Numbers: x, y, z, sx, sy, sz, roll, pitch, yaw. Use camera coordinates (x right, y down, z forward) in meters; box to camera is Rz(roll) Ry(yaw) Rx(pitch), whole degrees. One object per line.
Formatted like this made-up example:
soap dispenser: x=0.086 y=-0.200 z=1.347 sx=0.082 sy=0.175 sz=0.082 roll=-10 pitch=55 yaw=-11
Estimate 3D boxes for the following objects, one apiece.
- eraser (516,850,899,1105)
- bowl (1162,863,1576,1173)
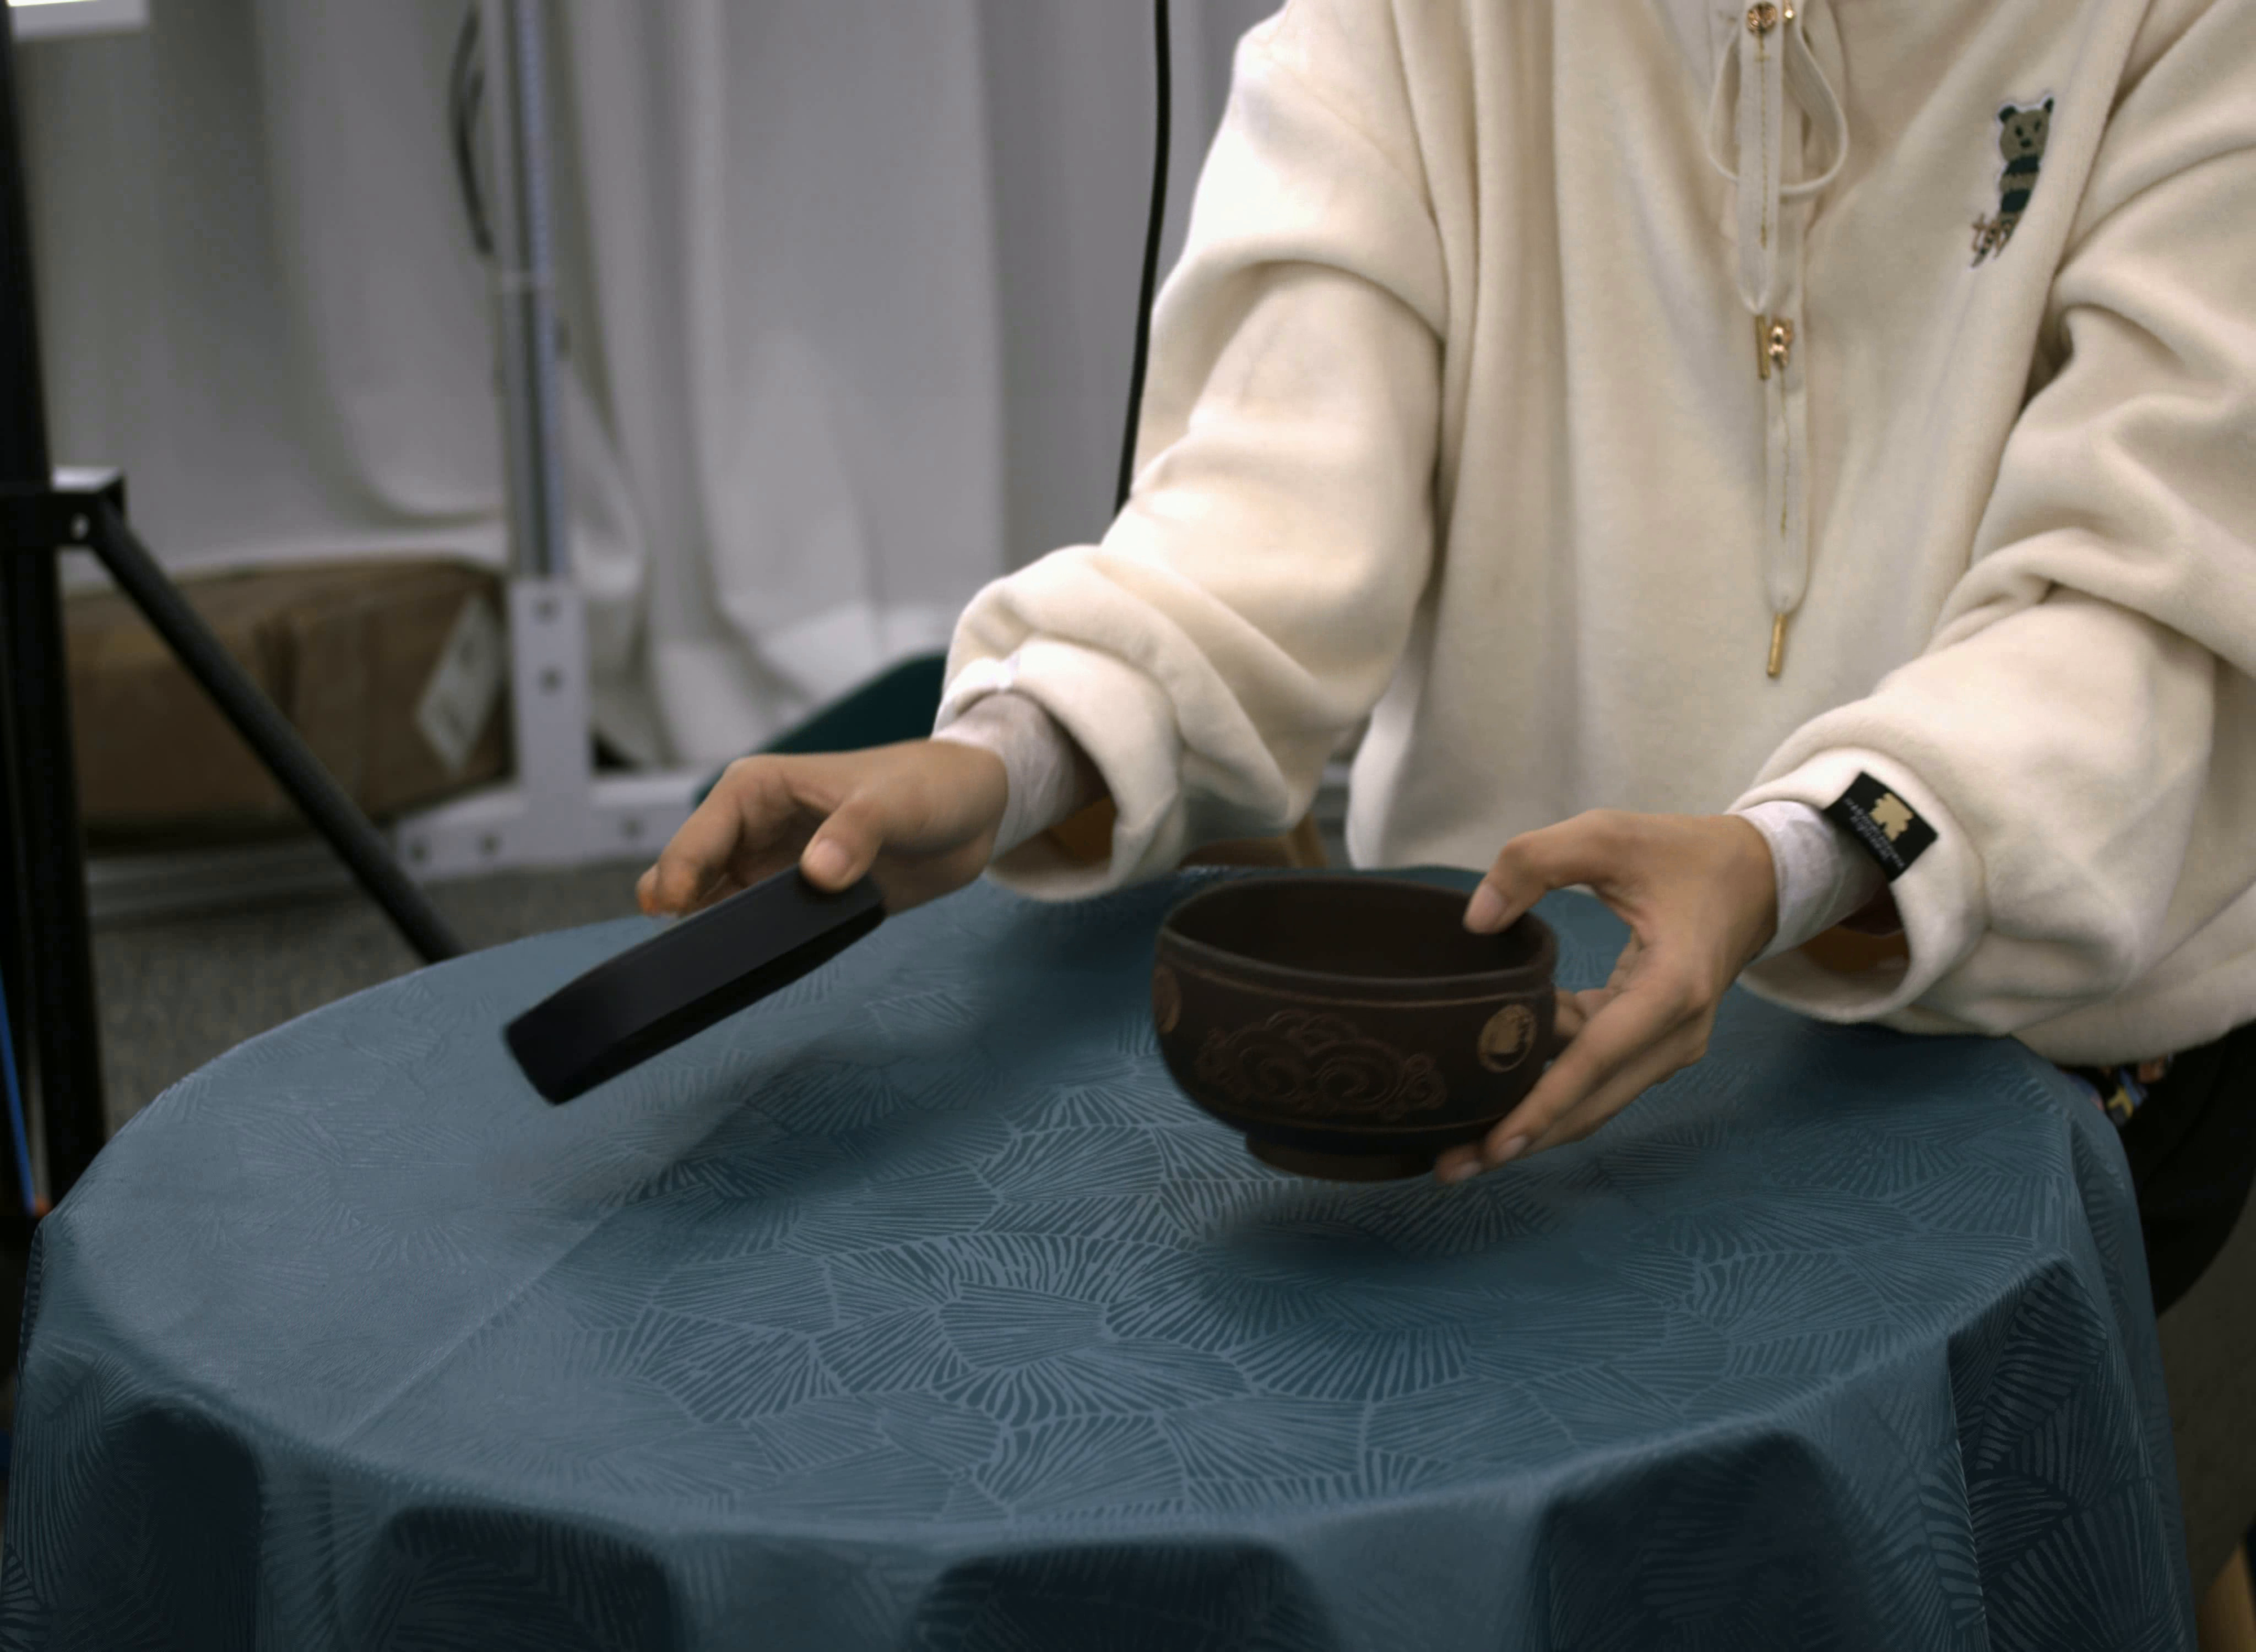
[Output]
eraser: x=-0.125 y=0.045 z=1.602 sx=0.054 sy=0.030 sz=0.123 roll=-33 pitch=-4 yaw=39
bowl: x=0.068 y=0.058 z=1.517 sx=0.117 sy=0.070 sz=0.118 roll=4 pitch=14 yaw=-2
